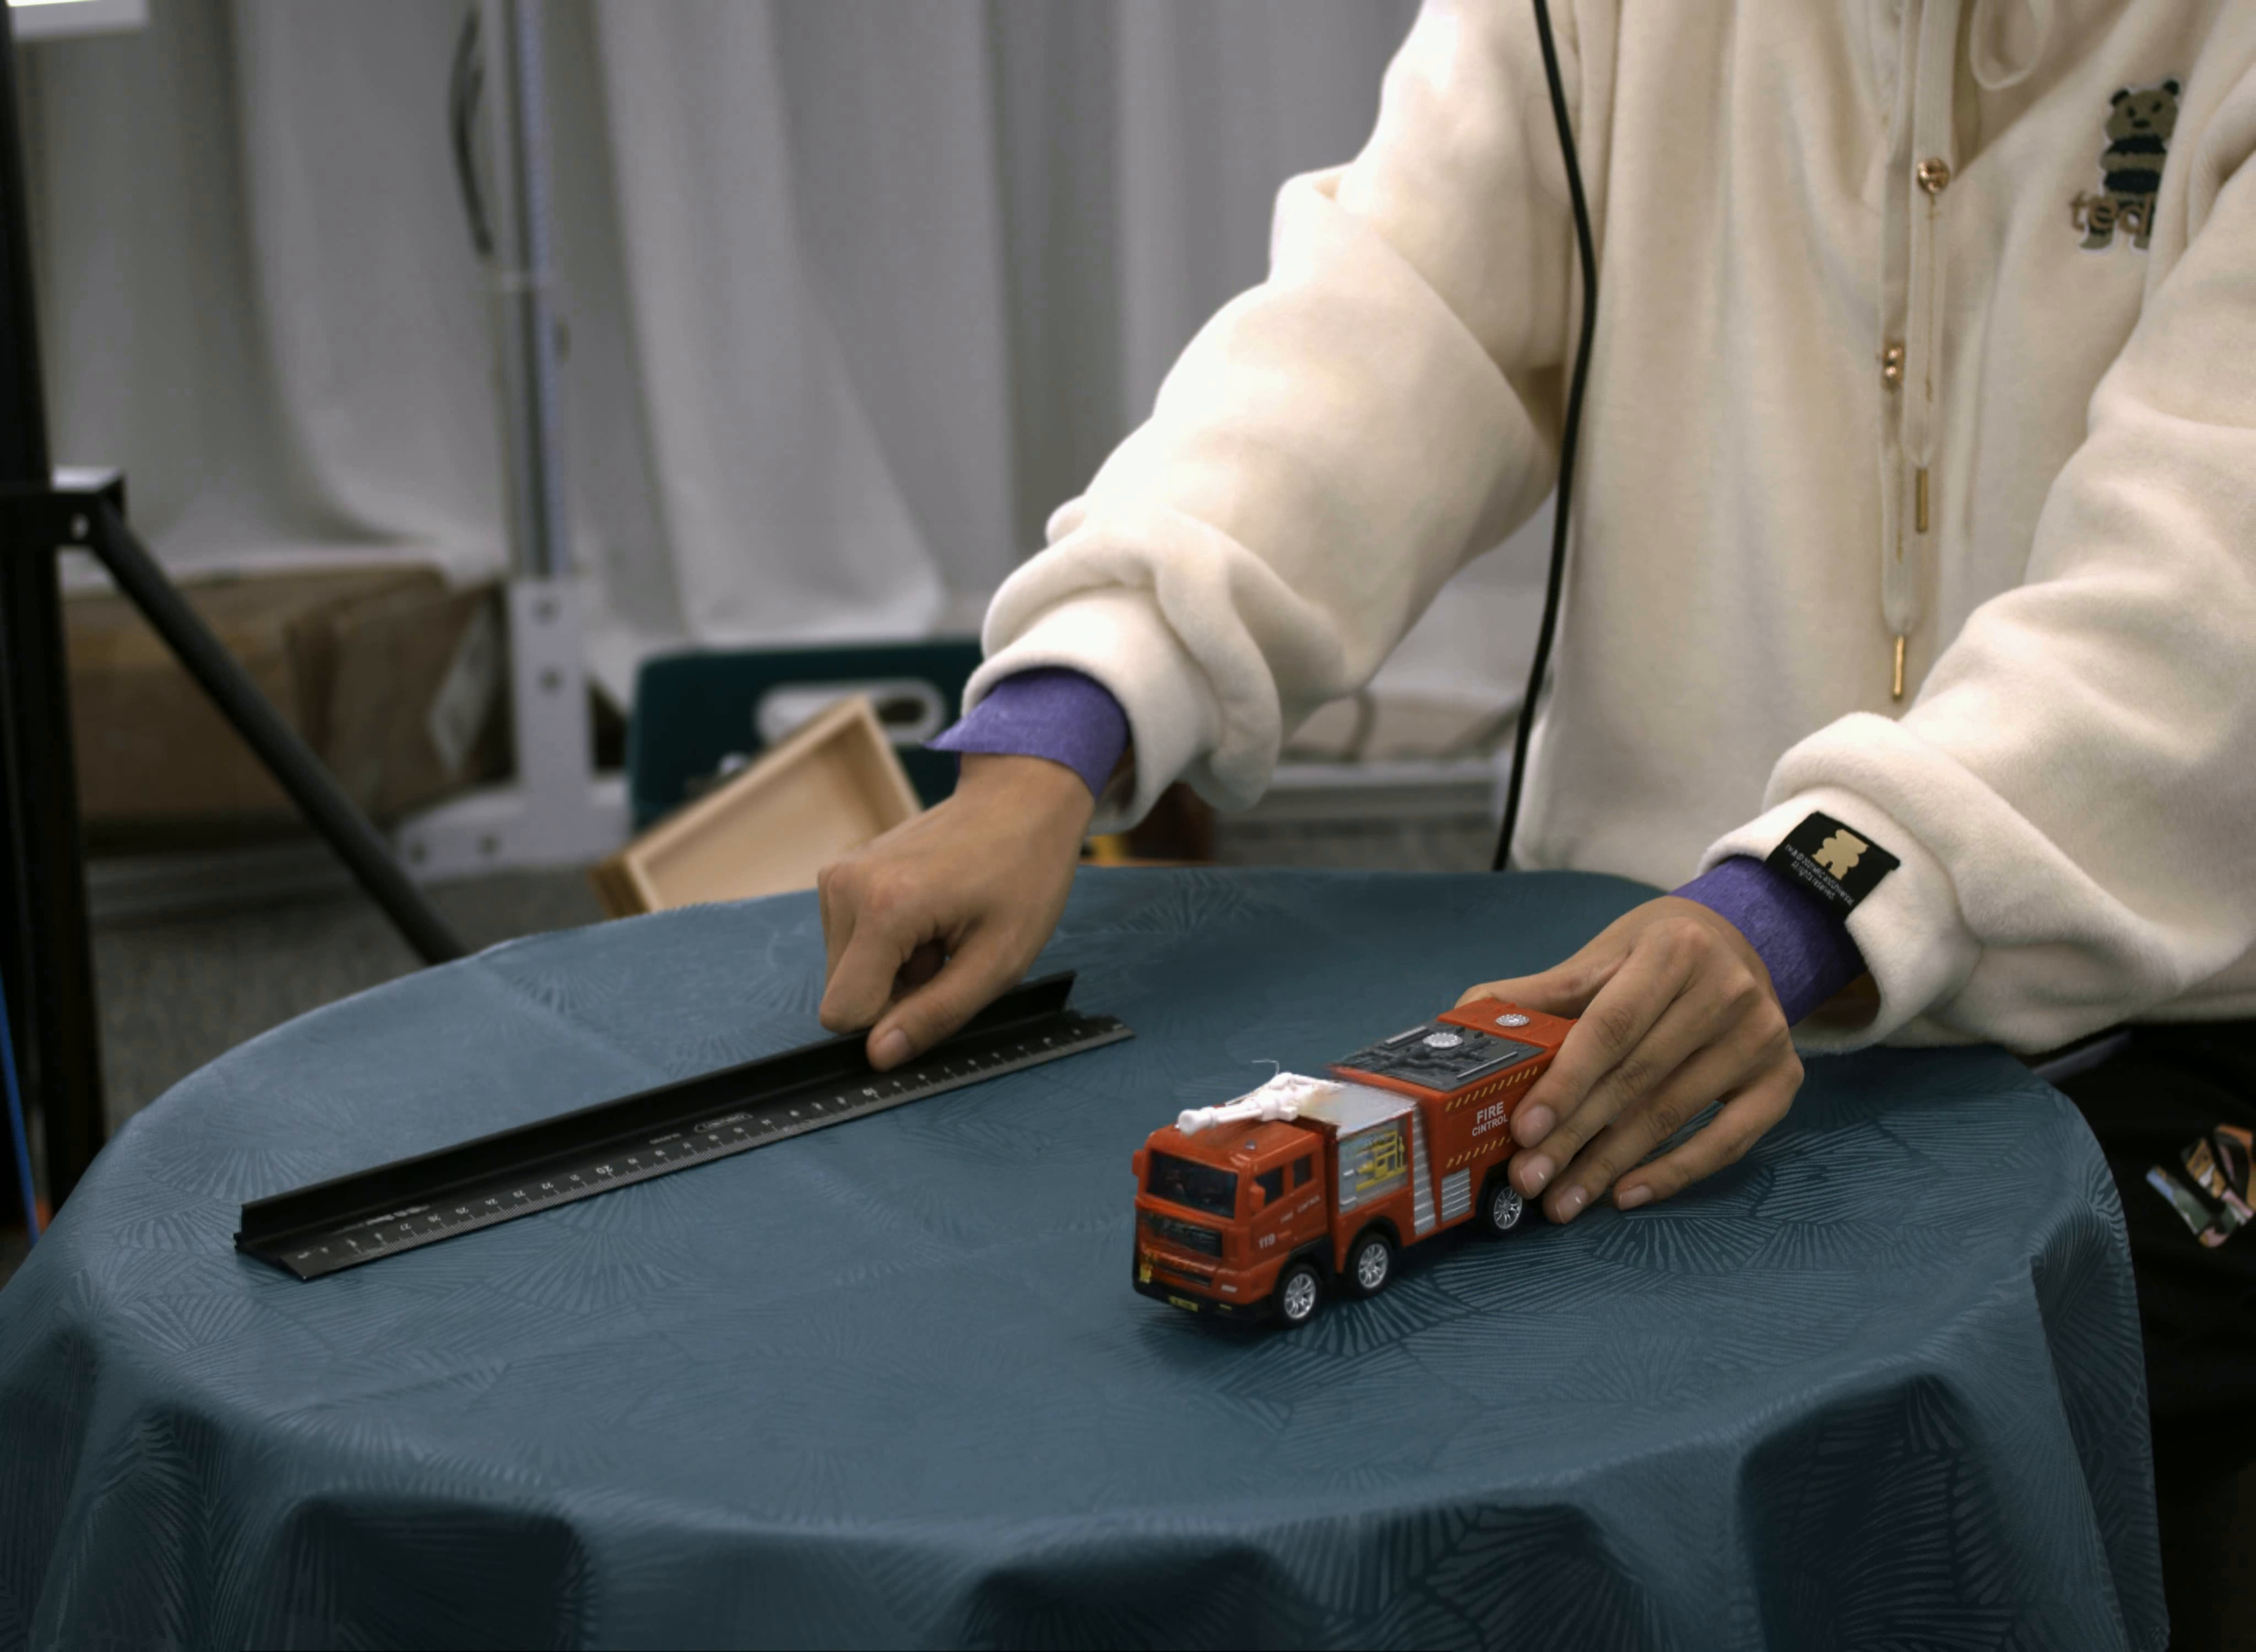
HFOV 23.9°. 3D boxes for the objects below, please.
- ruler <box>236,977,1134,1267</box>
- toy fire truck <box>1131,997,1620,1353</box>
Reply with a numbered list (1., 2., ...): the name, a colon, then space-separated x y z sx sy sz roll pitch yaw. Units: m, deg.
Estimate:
1. ruler: -0.128 0.088 1.621 0.305 0.017 0.040 -14 22 -36
2. toy fire truck: 0.070 0.095 1.485 0.055 0.070 0.164 13 21 43
